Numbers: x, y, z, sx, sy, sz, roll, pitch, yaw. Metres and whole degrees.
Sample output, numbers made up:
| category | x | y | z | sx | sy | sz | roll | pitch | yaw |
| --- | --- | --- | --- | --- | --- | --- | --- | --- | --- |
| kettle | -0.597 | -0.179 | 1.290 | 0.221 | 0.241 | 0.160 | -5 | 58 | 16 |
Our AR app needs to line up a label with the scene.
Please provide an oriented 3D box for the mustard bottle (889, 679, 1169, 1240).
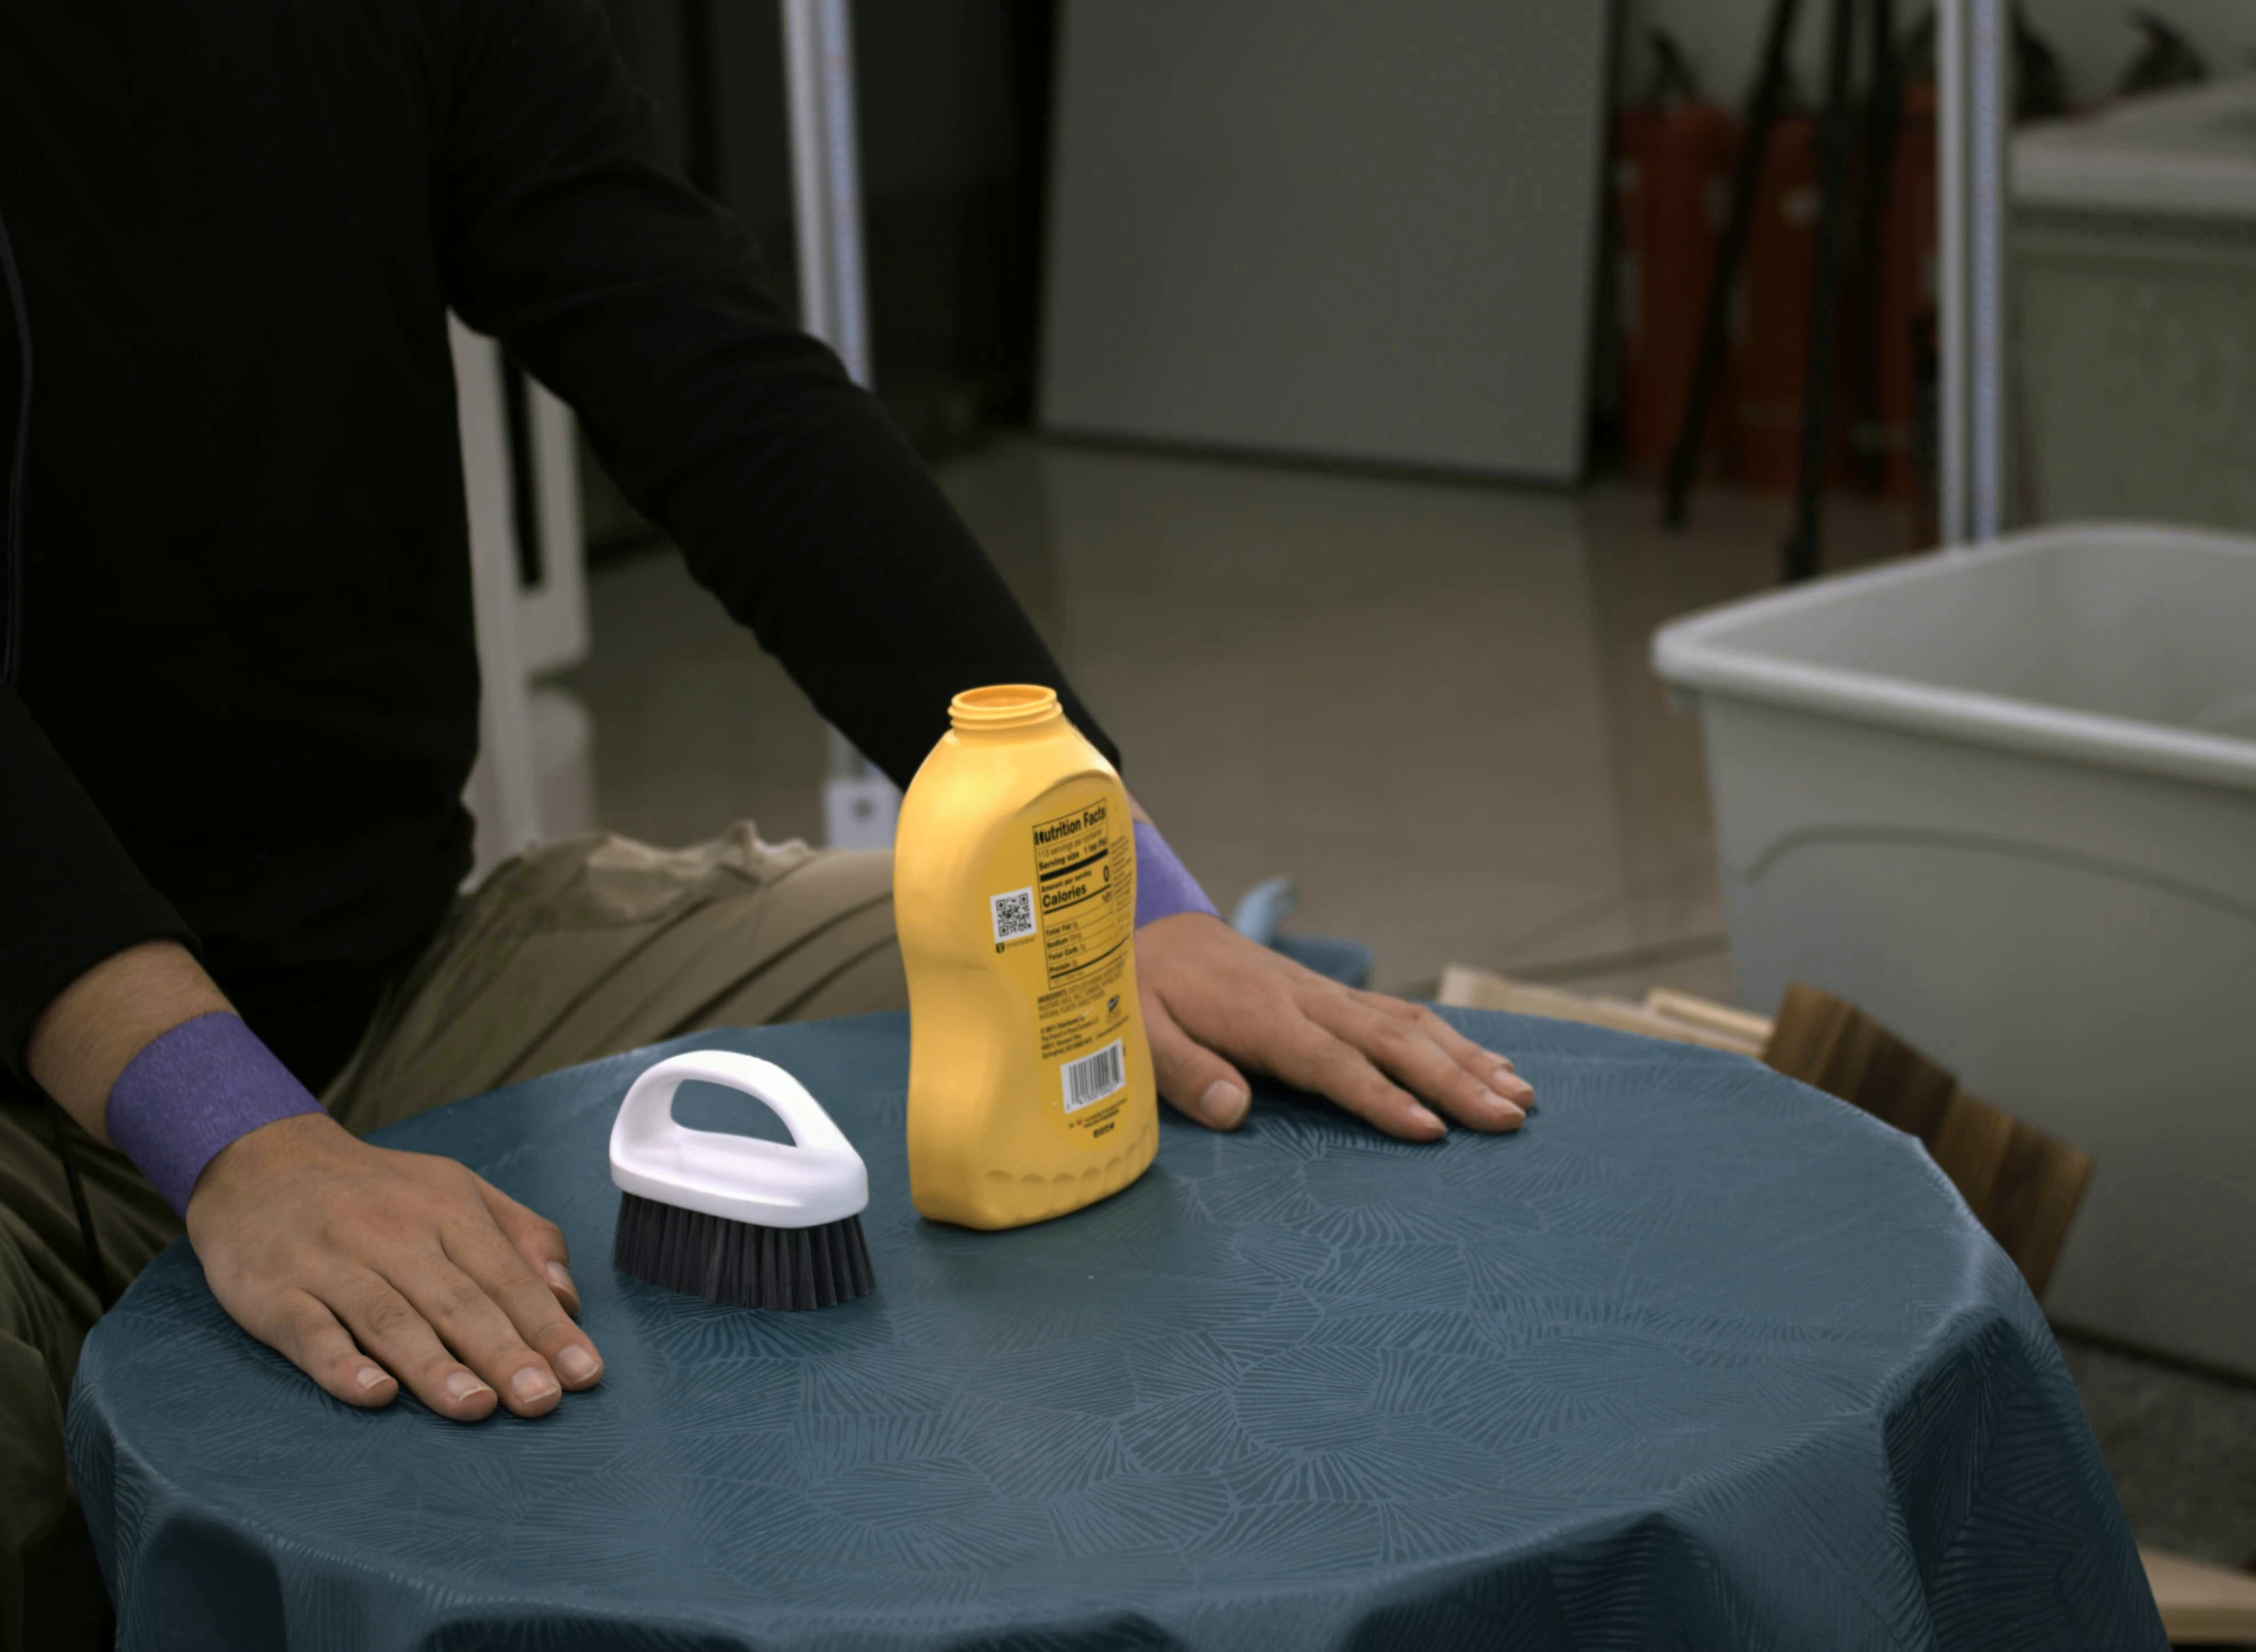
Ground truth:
| category | x | y | z | sx | sy | sz | roll | pitch | yaw |
| --- | --- | --- | --- | --- | --- | --- | --- | --- | --- |
| mustard bottle | -0.035 | 0.041 | 1.750 | 0.060 | 0.174 | 0.096 | 3 | 16 | 38 |

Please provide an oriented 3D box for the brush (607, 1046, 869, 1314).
| category | x | y | z | sx | sy | sz | roll | pitch | yaw |
| --- | --- | --- | --- | --- | --- | --- | --- | --- | --- |
| brush | -0.124 | 0.107 | 1.704 | 0.100 | 0.073 | 0.049 | 11 | 18 | 44 |
